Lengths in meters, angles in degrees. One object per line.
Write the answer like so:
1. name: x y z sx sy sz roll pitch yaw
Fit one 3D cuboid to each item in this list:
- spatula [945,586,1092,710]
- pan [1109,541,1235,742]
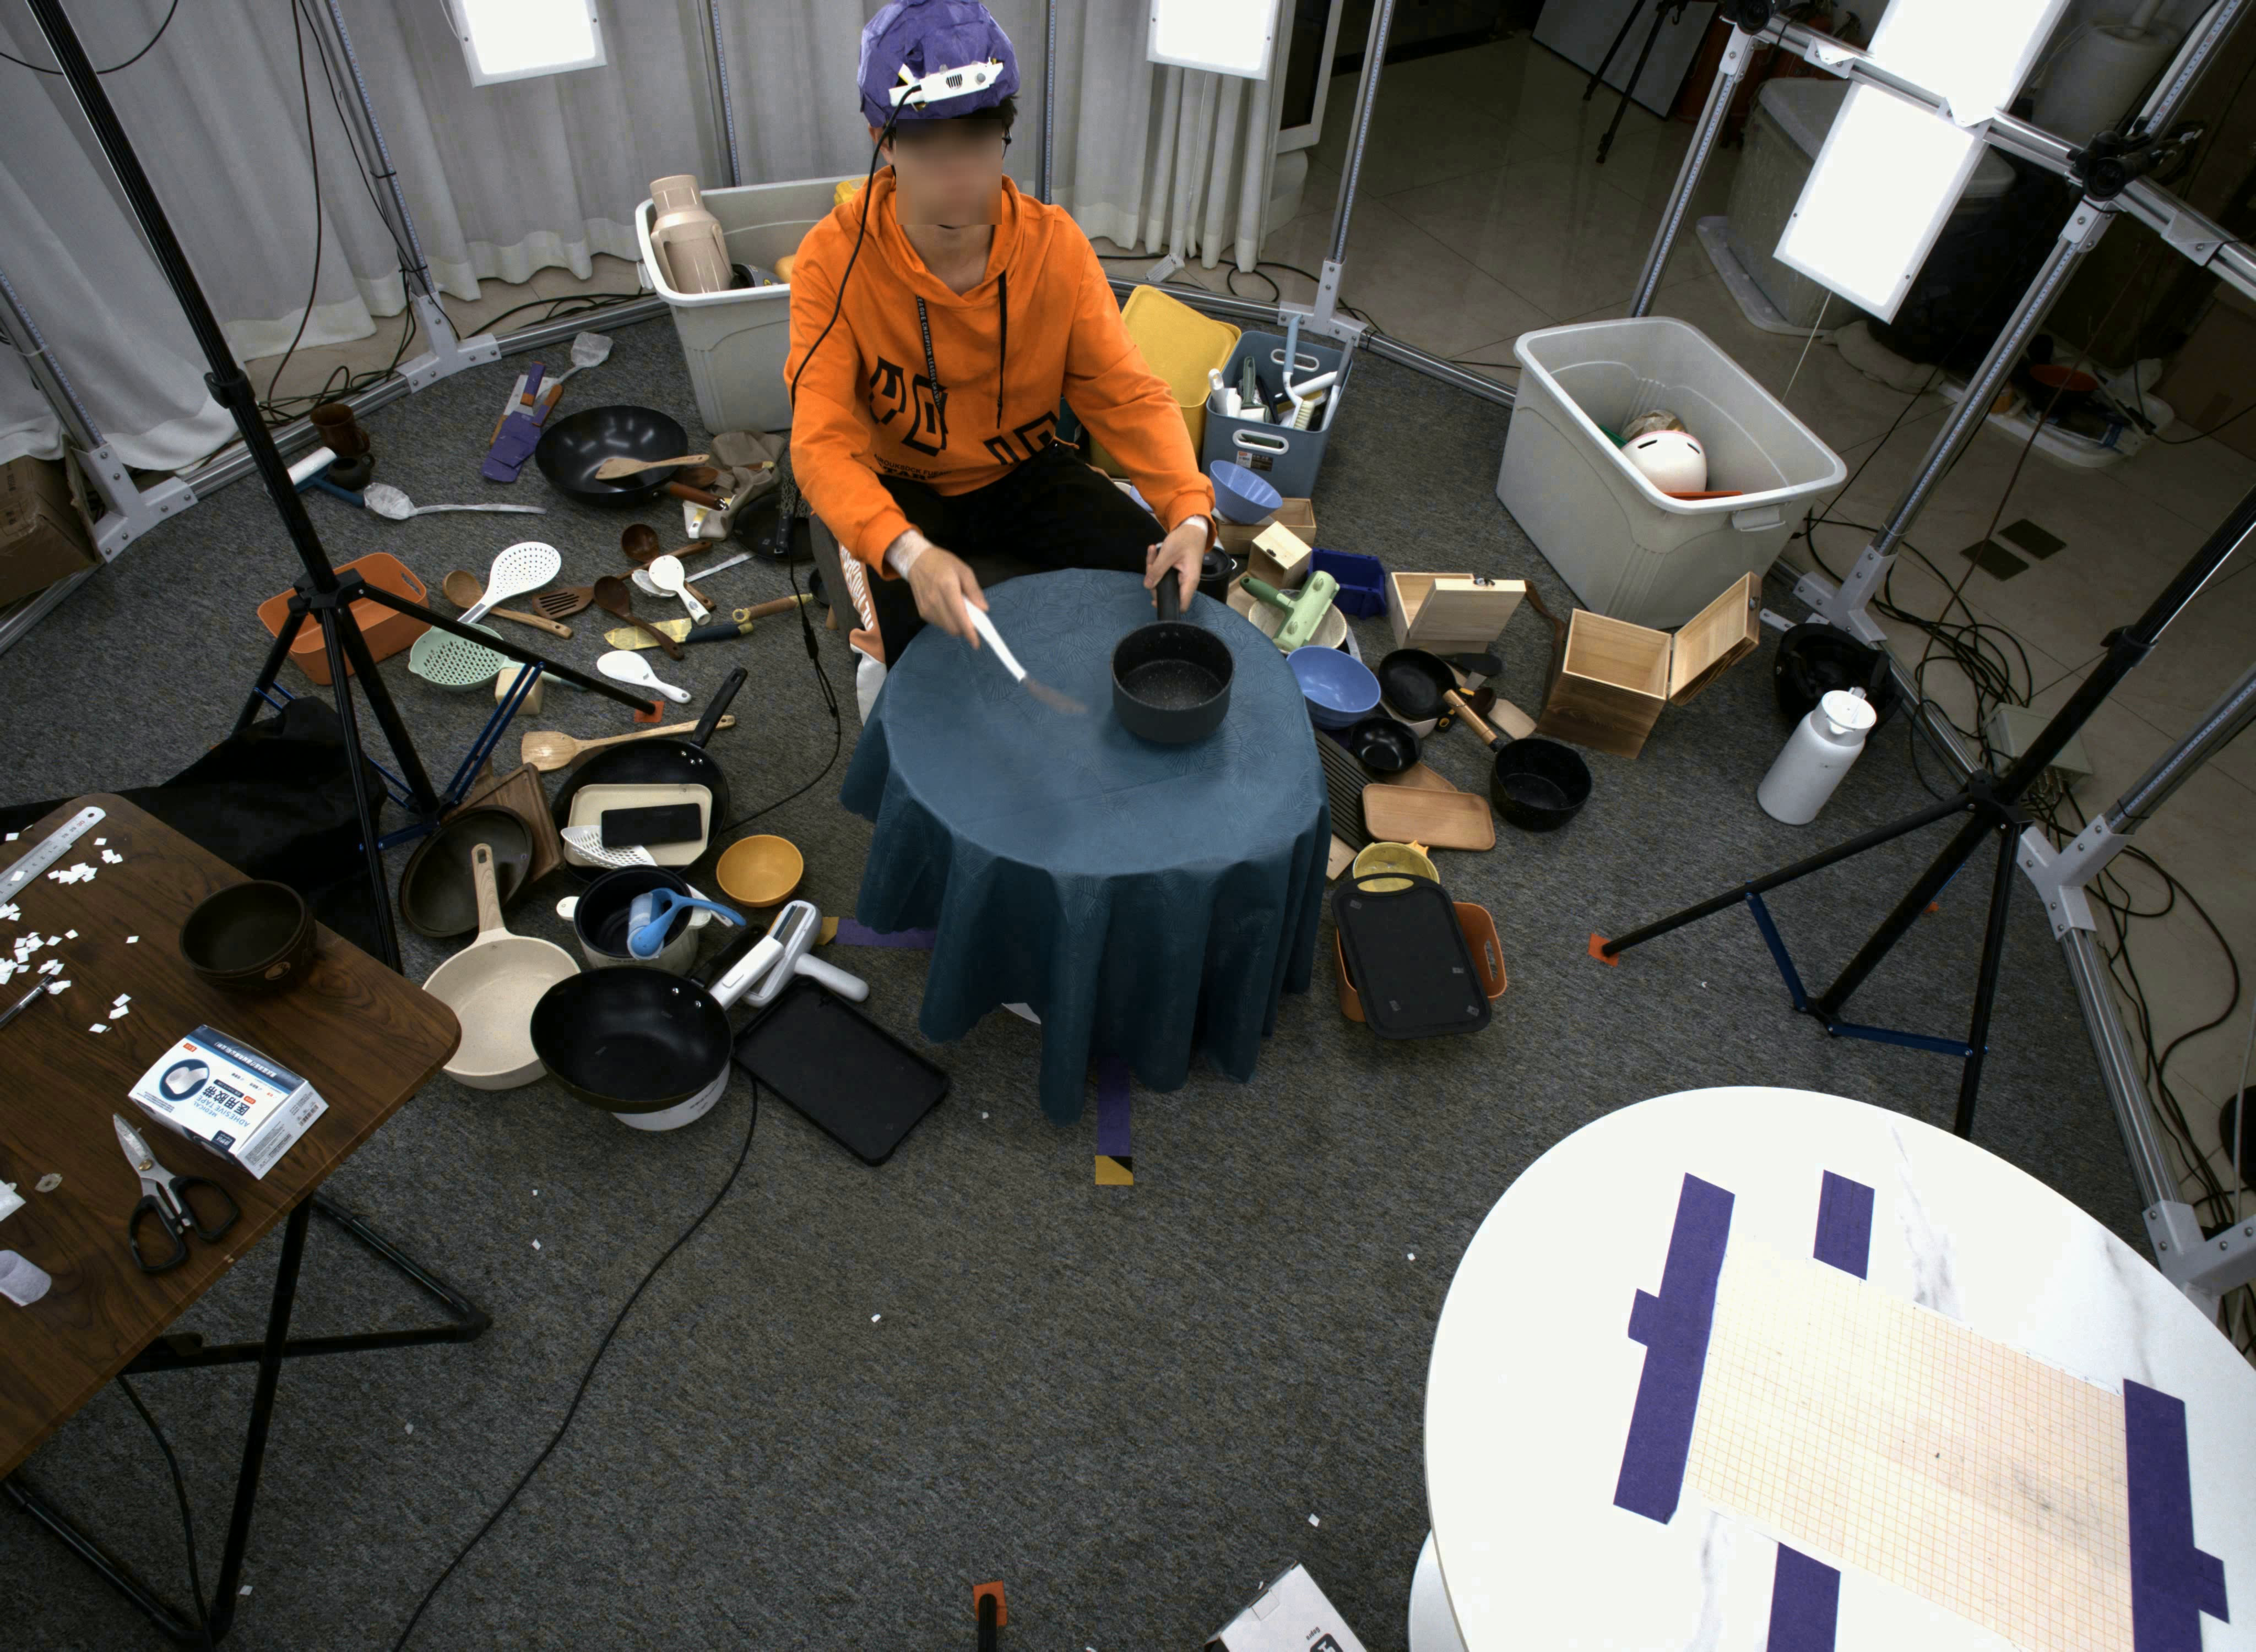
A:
1. spatula: -0.151 -0.228 1.687 0.058 0.032 0.293 1 36 -48
2. pan: 0.061 -0.264 1.815 0.172 0.084 0.337 2 52 0
